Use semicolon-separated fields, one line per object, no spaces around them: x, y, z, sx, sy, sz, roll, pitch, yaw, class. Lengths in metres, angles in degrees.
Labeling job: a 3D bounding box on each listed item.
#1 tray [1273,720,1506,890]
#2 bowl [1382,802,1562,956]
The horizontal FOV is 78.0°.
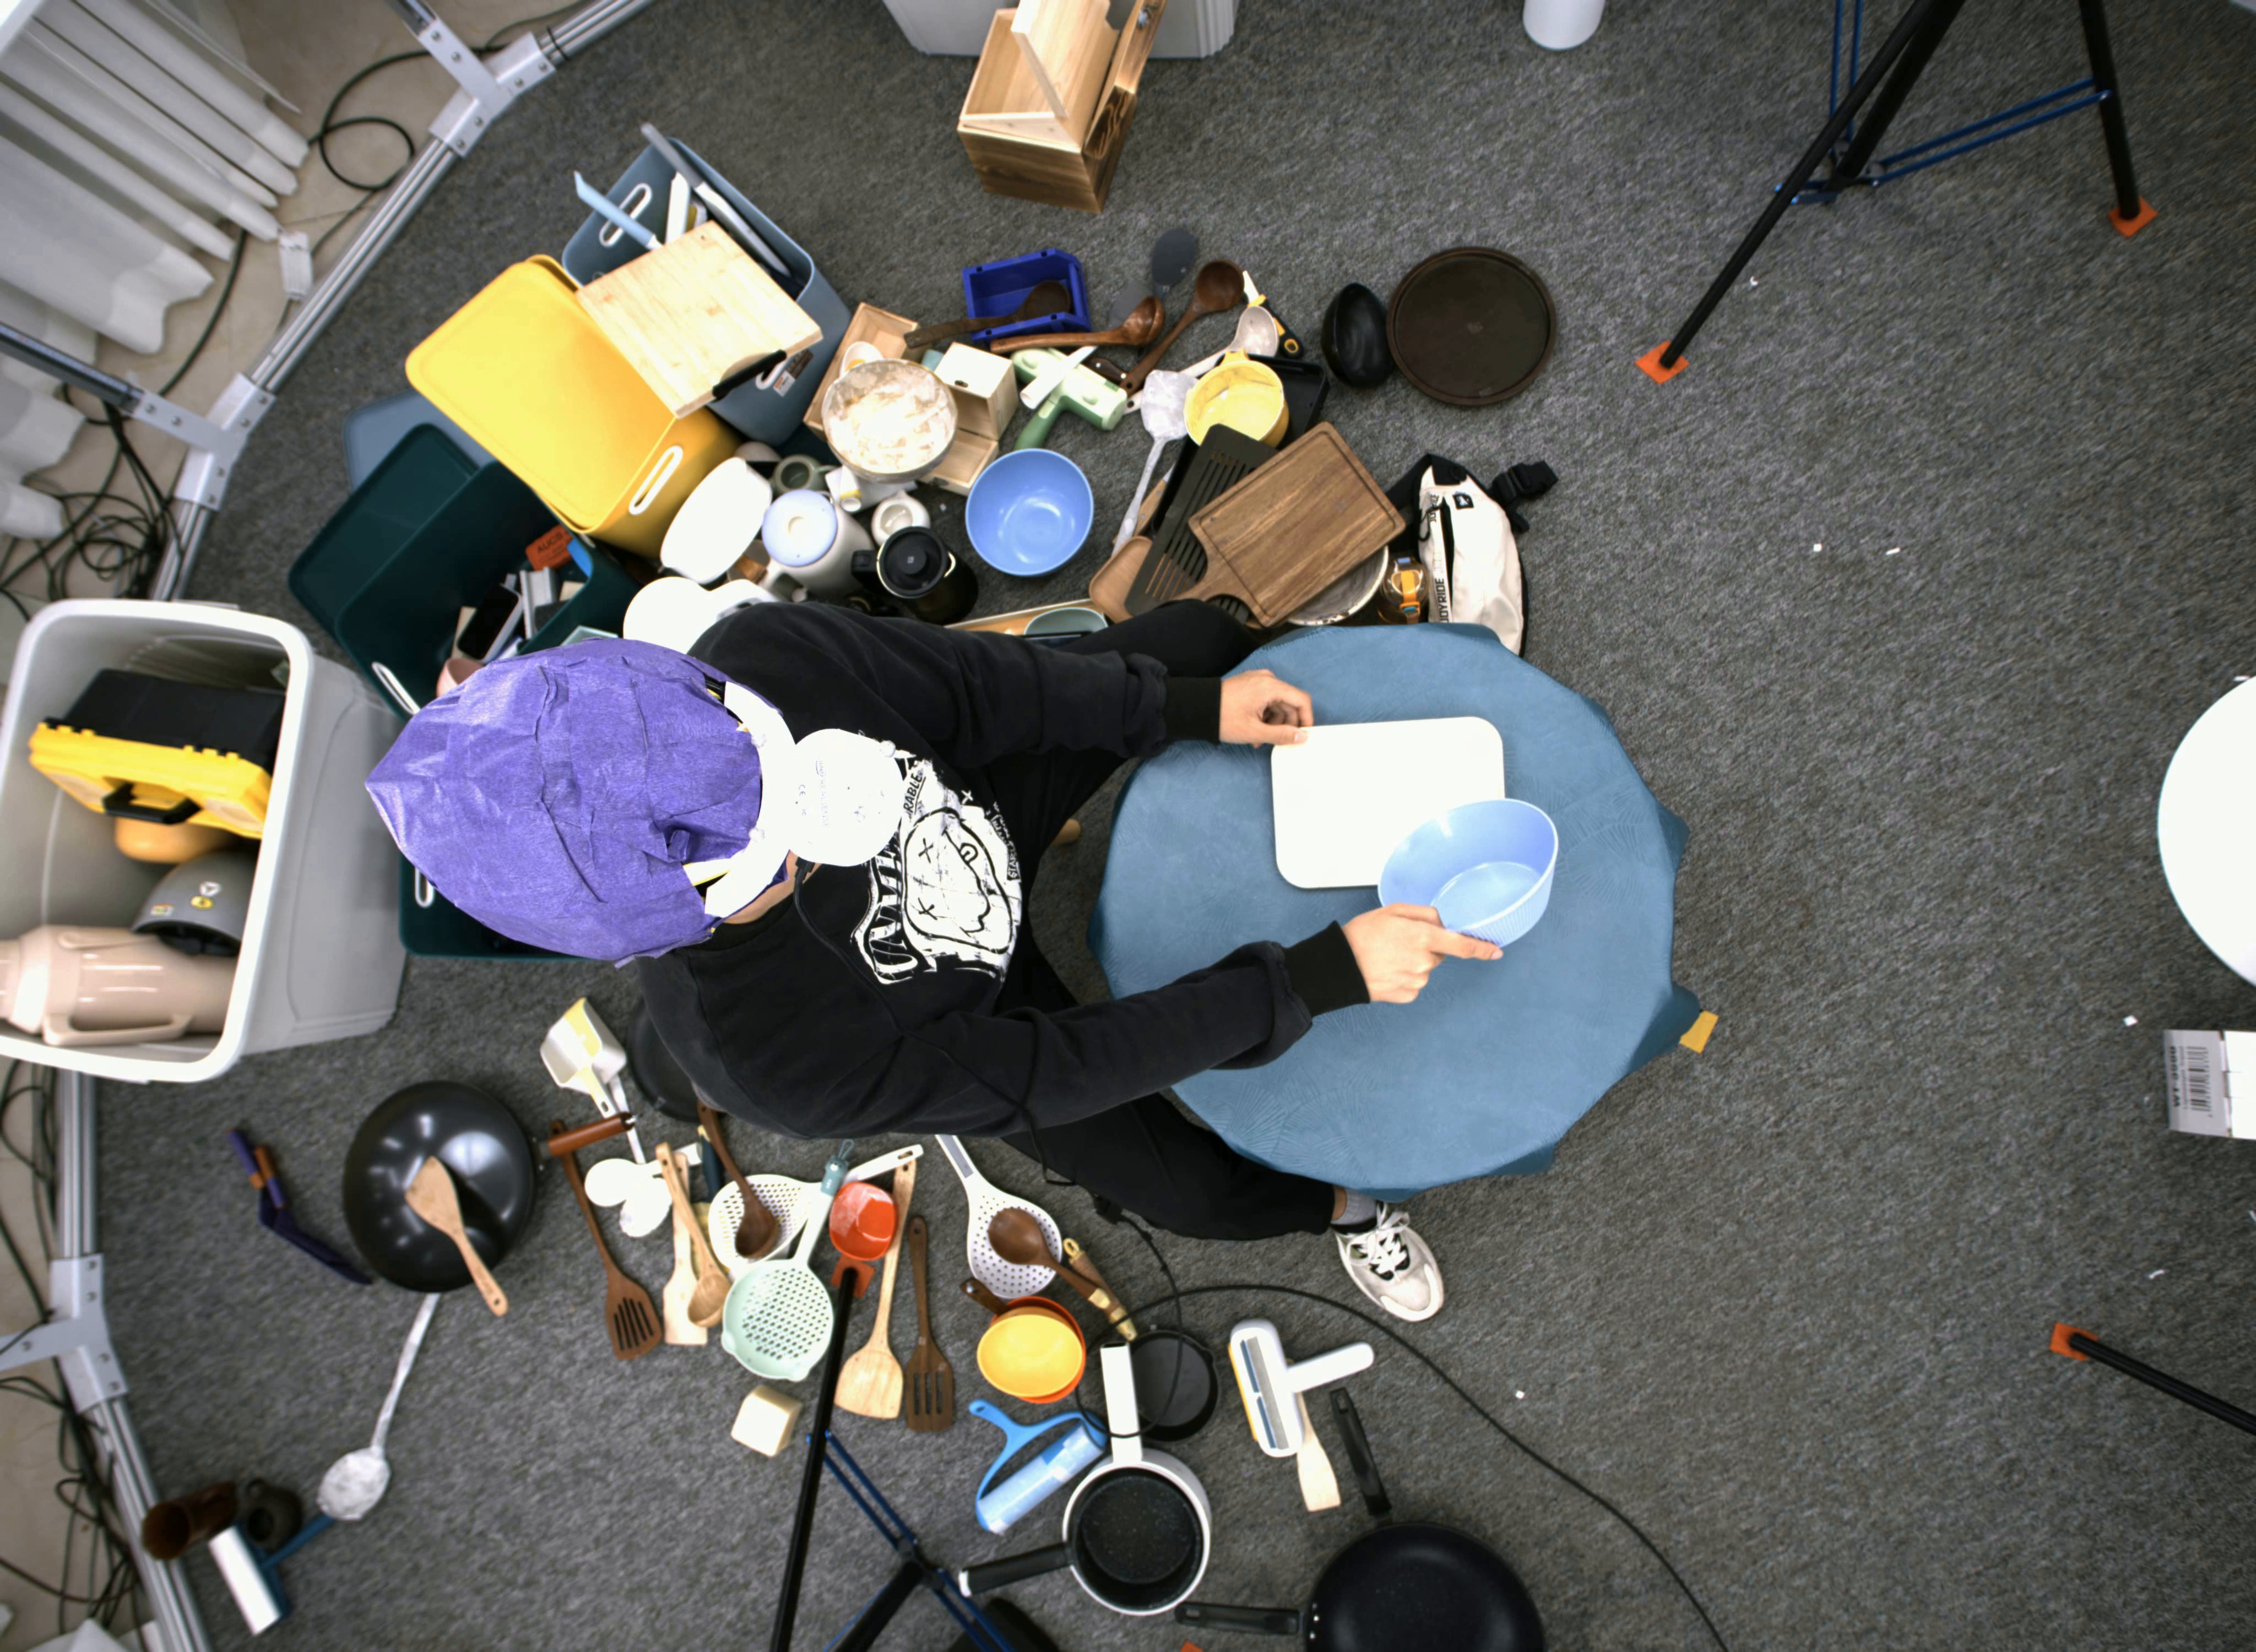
0.276;-0.023;1.450;0.240;0.017;0.171;-3;94;10;tray
0.336;0.058;1.313;0.177;0.172;0.071;-30;122;6;bowl
